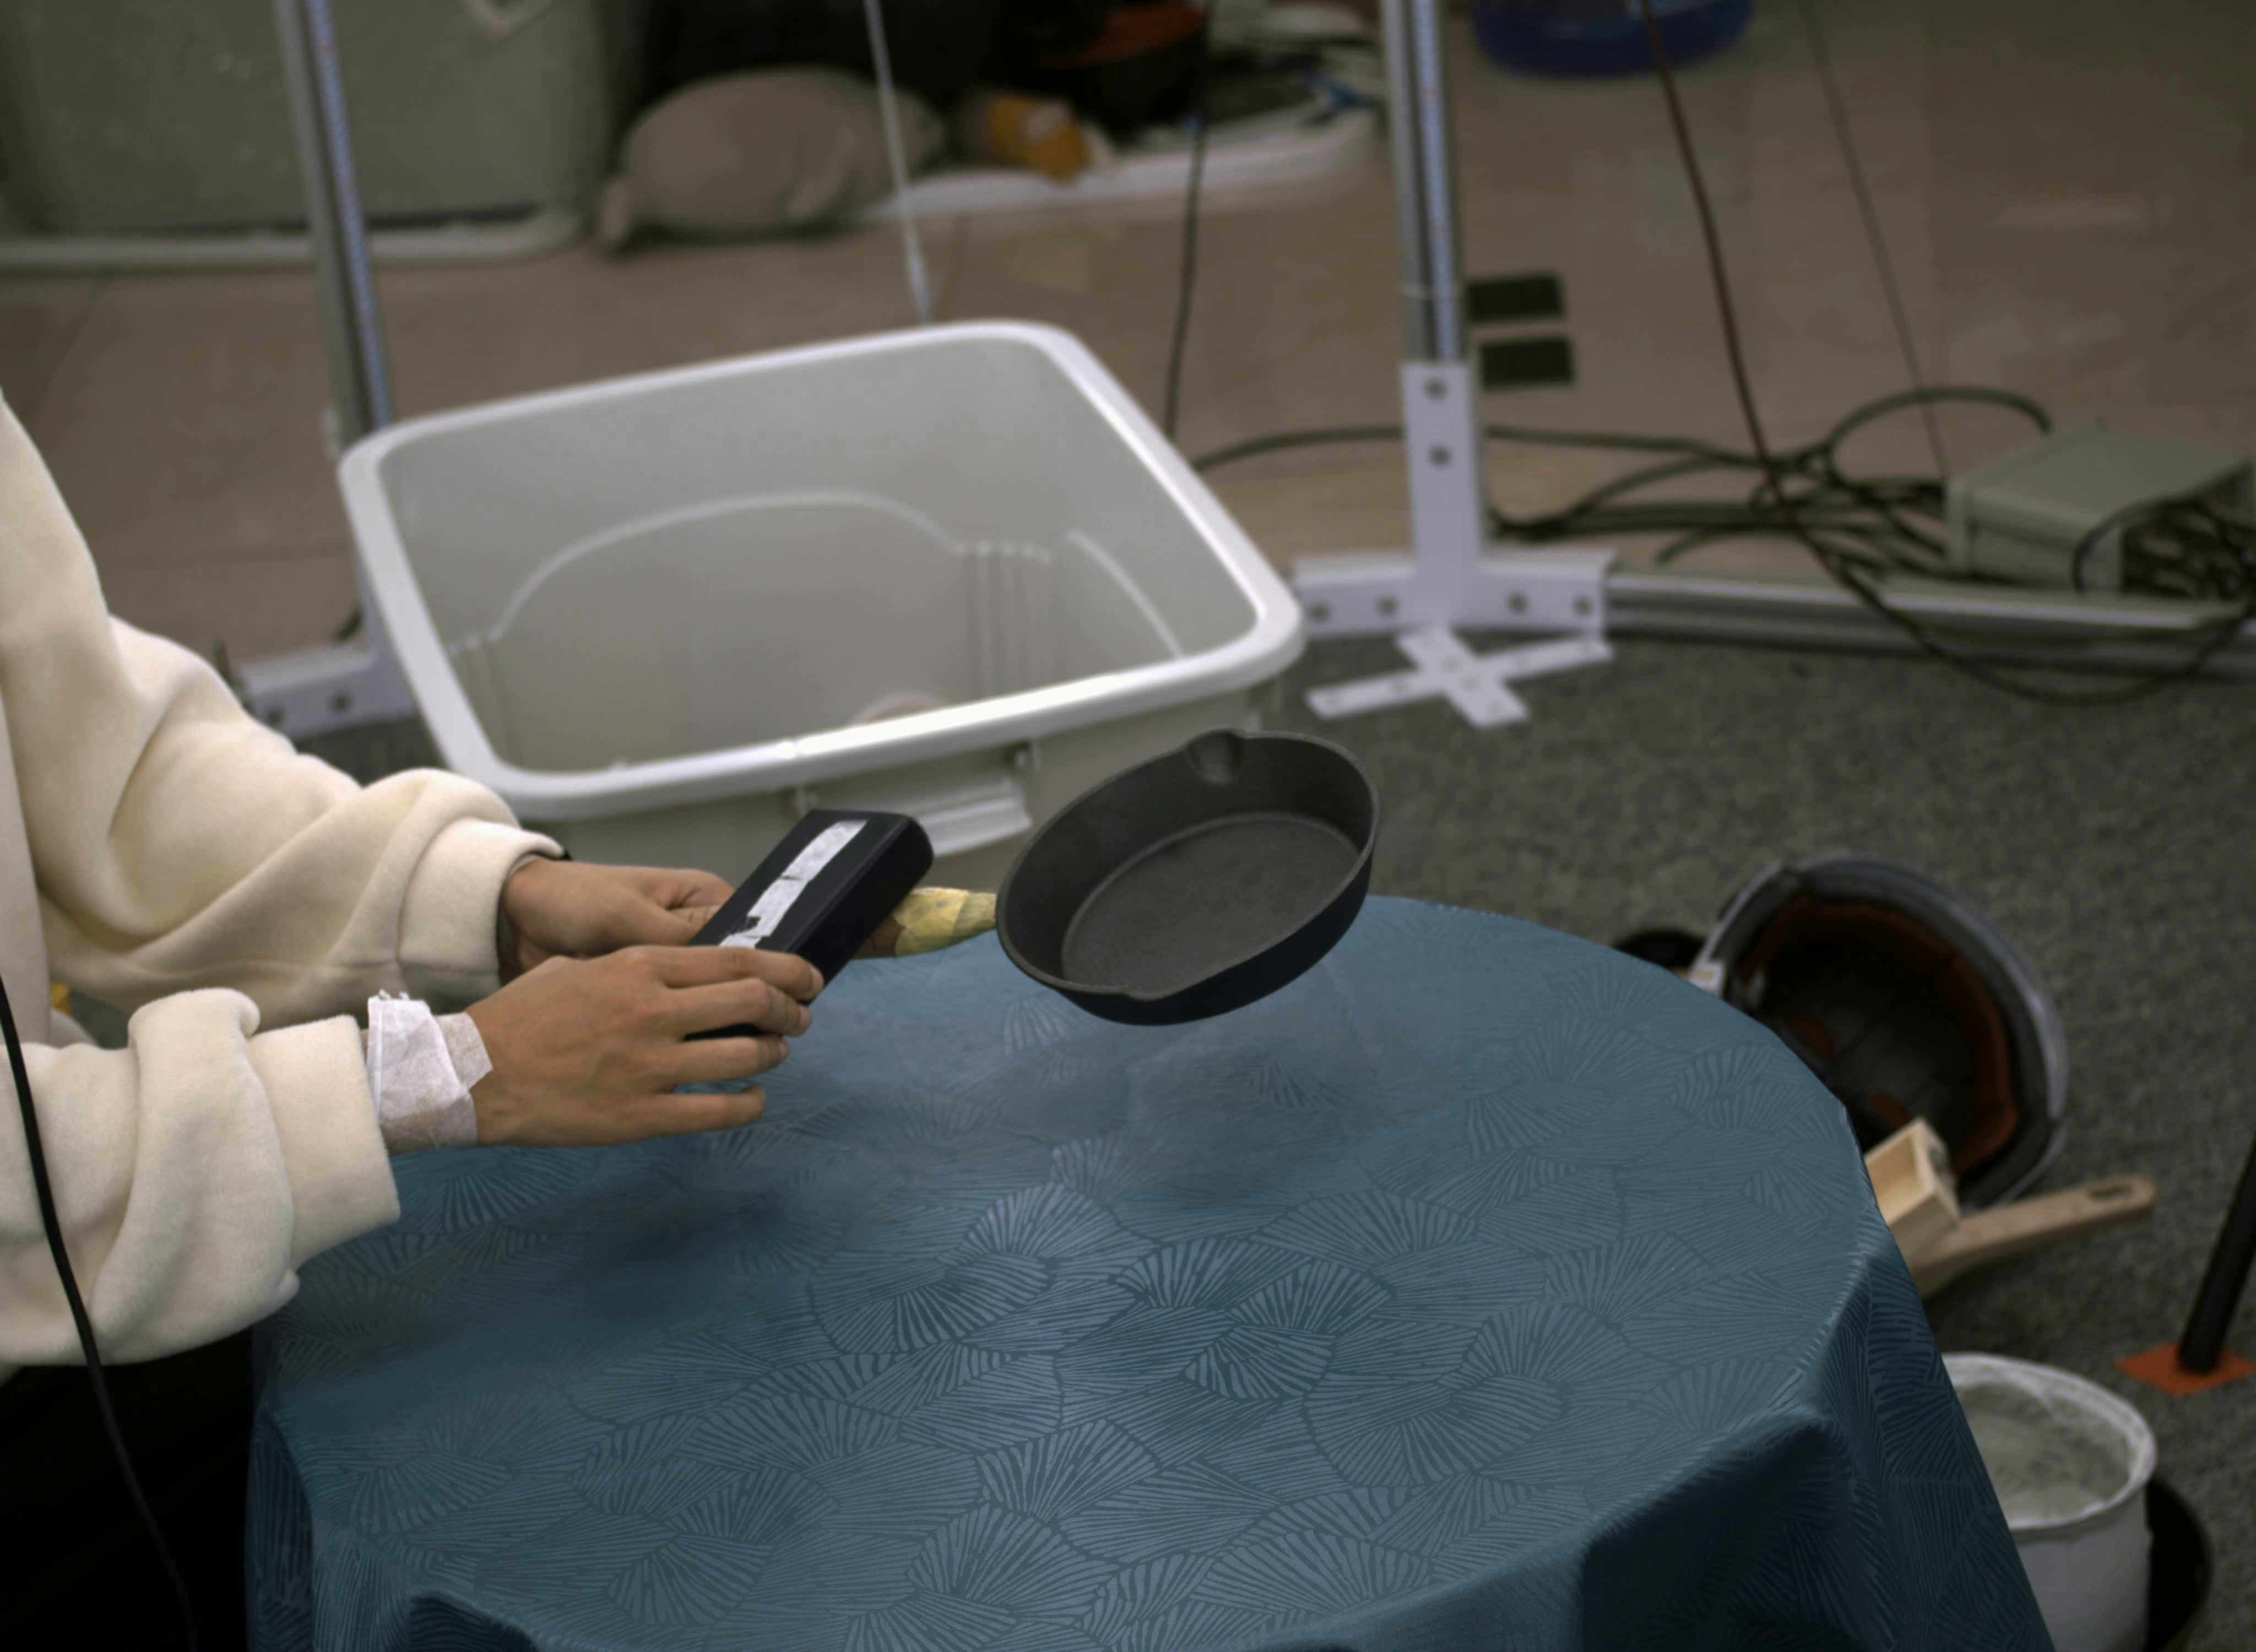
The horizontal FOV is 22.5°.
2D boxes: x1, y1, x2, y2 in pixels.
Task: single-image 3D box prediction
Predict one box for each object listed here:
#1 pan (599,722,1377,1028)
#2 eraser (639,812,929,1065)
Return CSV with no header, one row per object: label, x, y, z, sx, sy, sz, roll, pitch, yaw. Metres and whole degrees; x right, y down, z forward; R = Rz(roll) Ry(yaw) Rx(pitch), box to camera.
pan,-0.053,0.032,2.204,0.324,0.050,0.166,-9,37,20
eraser,-0.131,0.041,2.176,0.053,0.031,0.124,7,42,37
